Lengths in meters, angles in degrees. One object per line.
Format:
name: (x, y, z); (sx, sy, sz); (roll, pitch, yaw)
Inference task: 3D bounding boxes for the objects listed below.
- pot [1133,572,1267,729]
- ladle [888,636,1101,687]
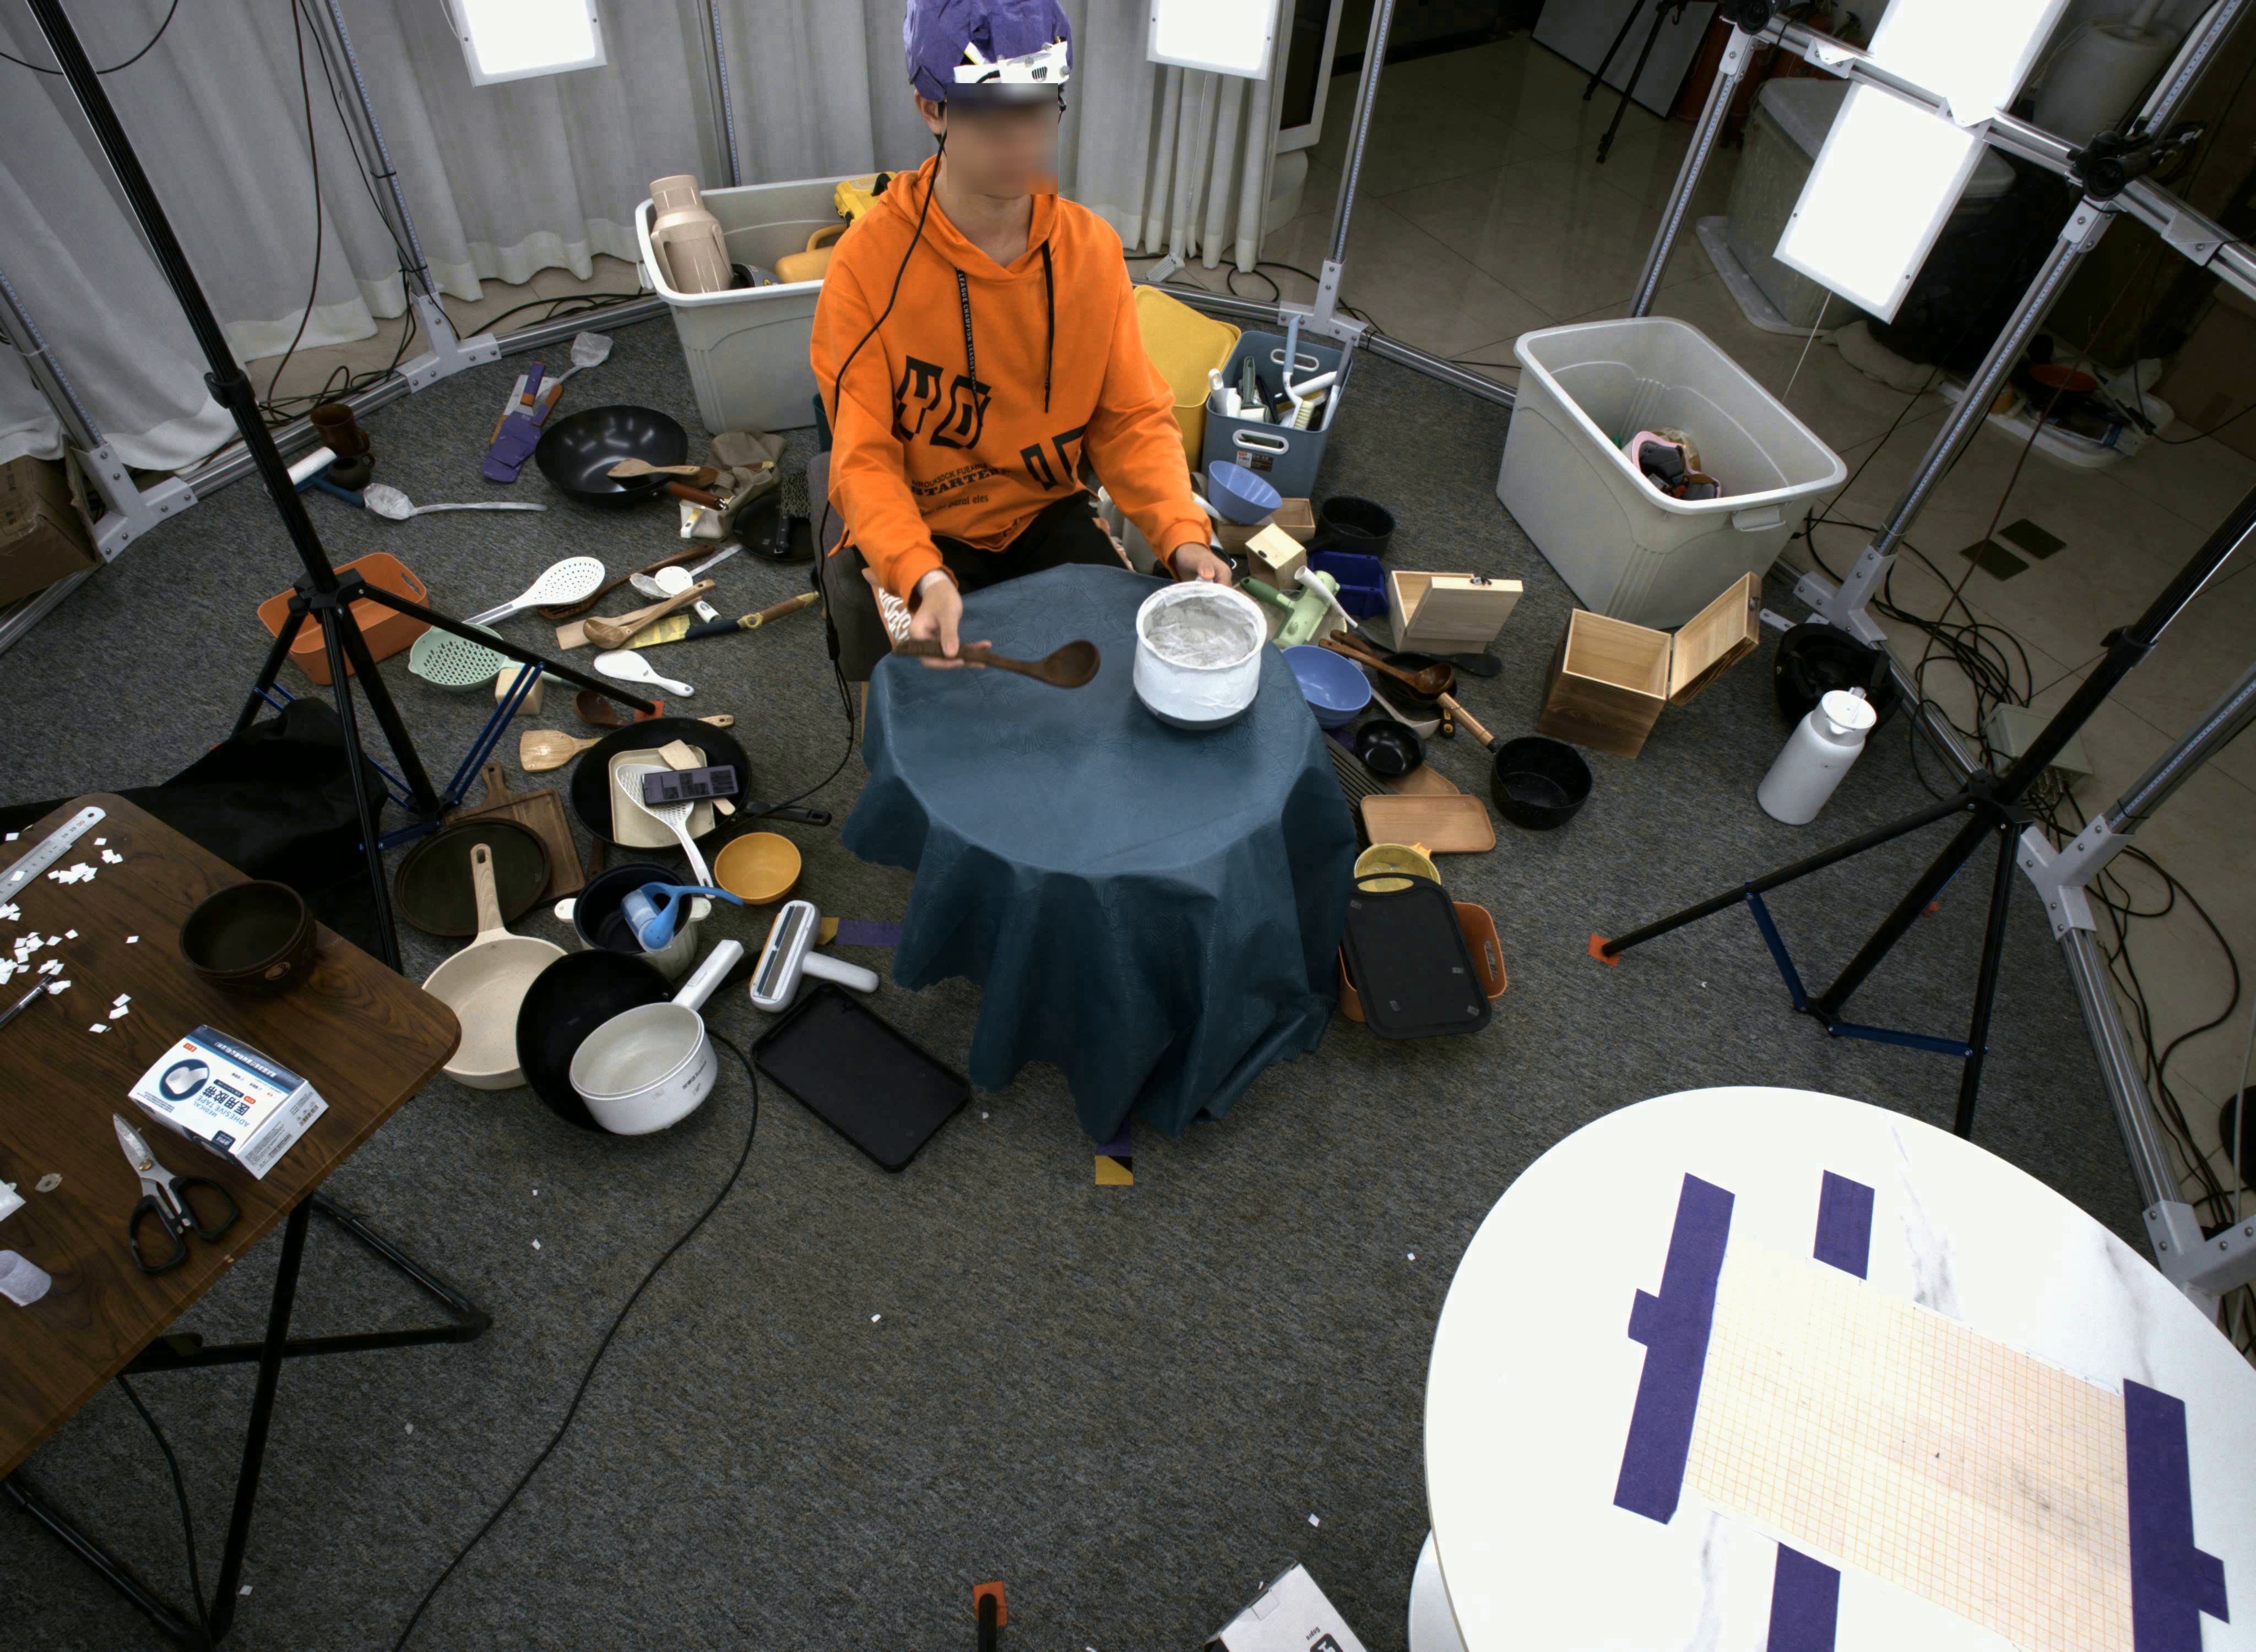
pot: (0.098, -0.254, 1.791); (0.178, 0.133, 0.239); (4, 49, 1)
ladle: (-0.170, -0.234, 1.684); (0.272, 0.070, 0.078); (9, 48, -20)
